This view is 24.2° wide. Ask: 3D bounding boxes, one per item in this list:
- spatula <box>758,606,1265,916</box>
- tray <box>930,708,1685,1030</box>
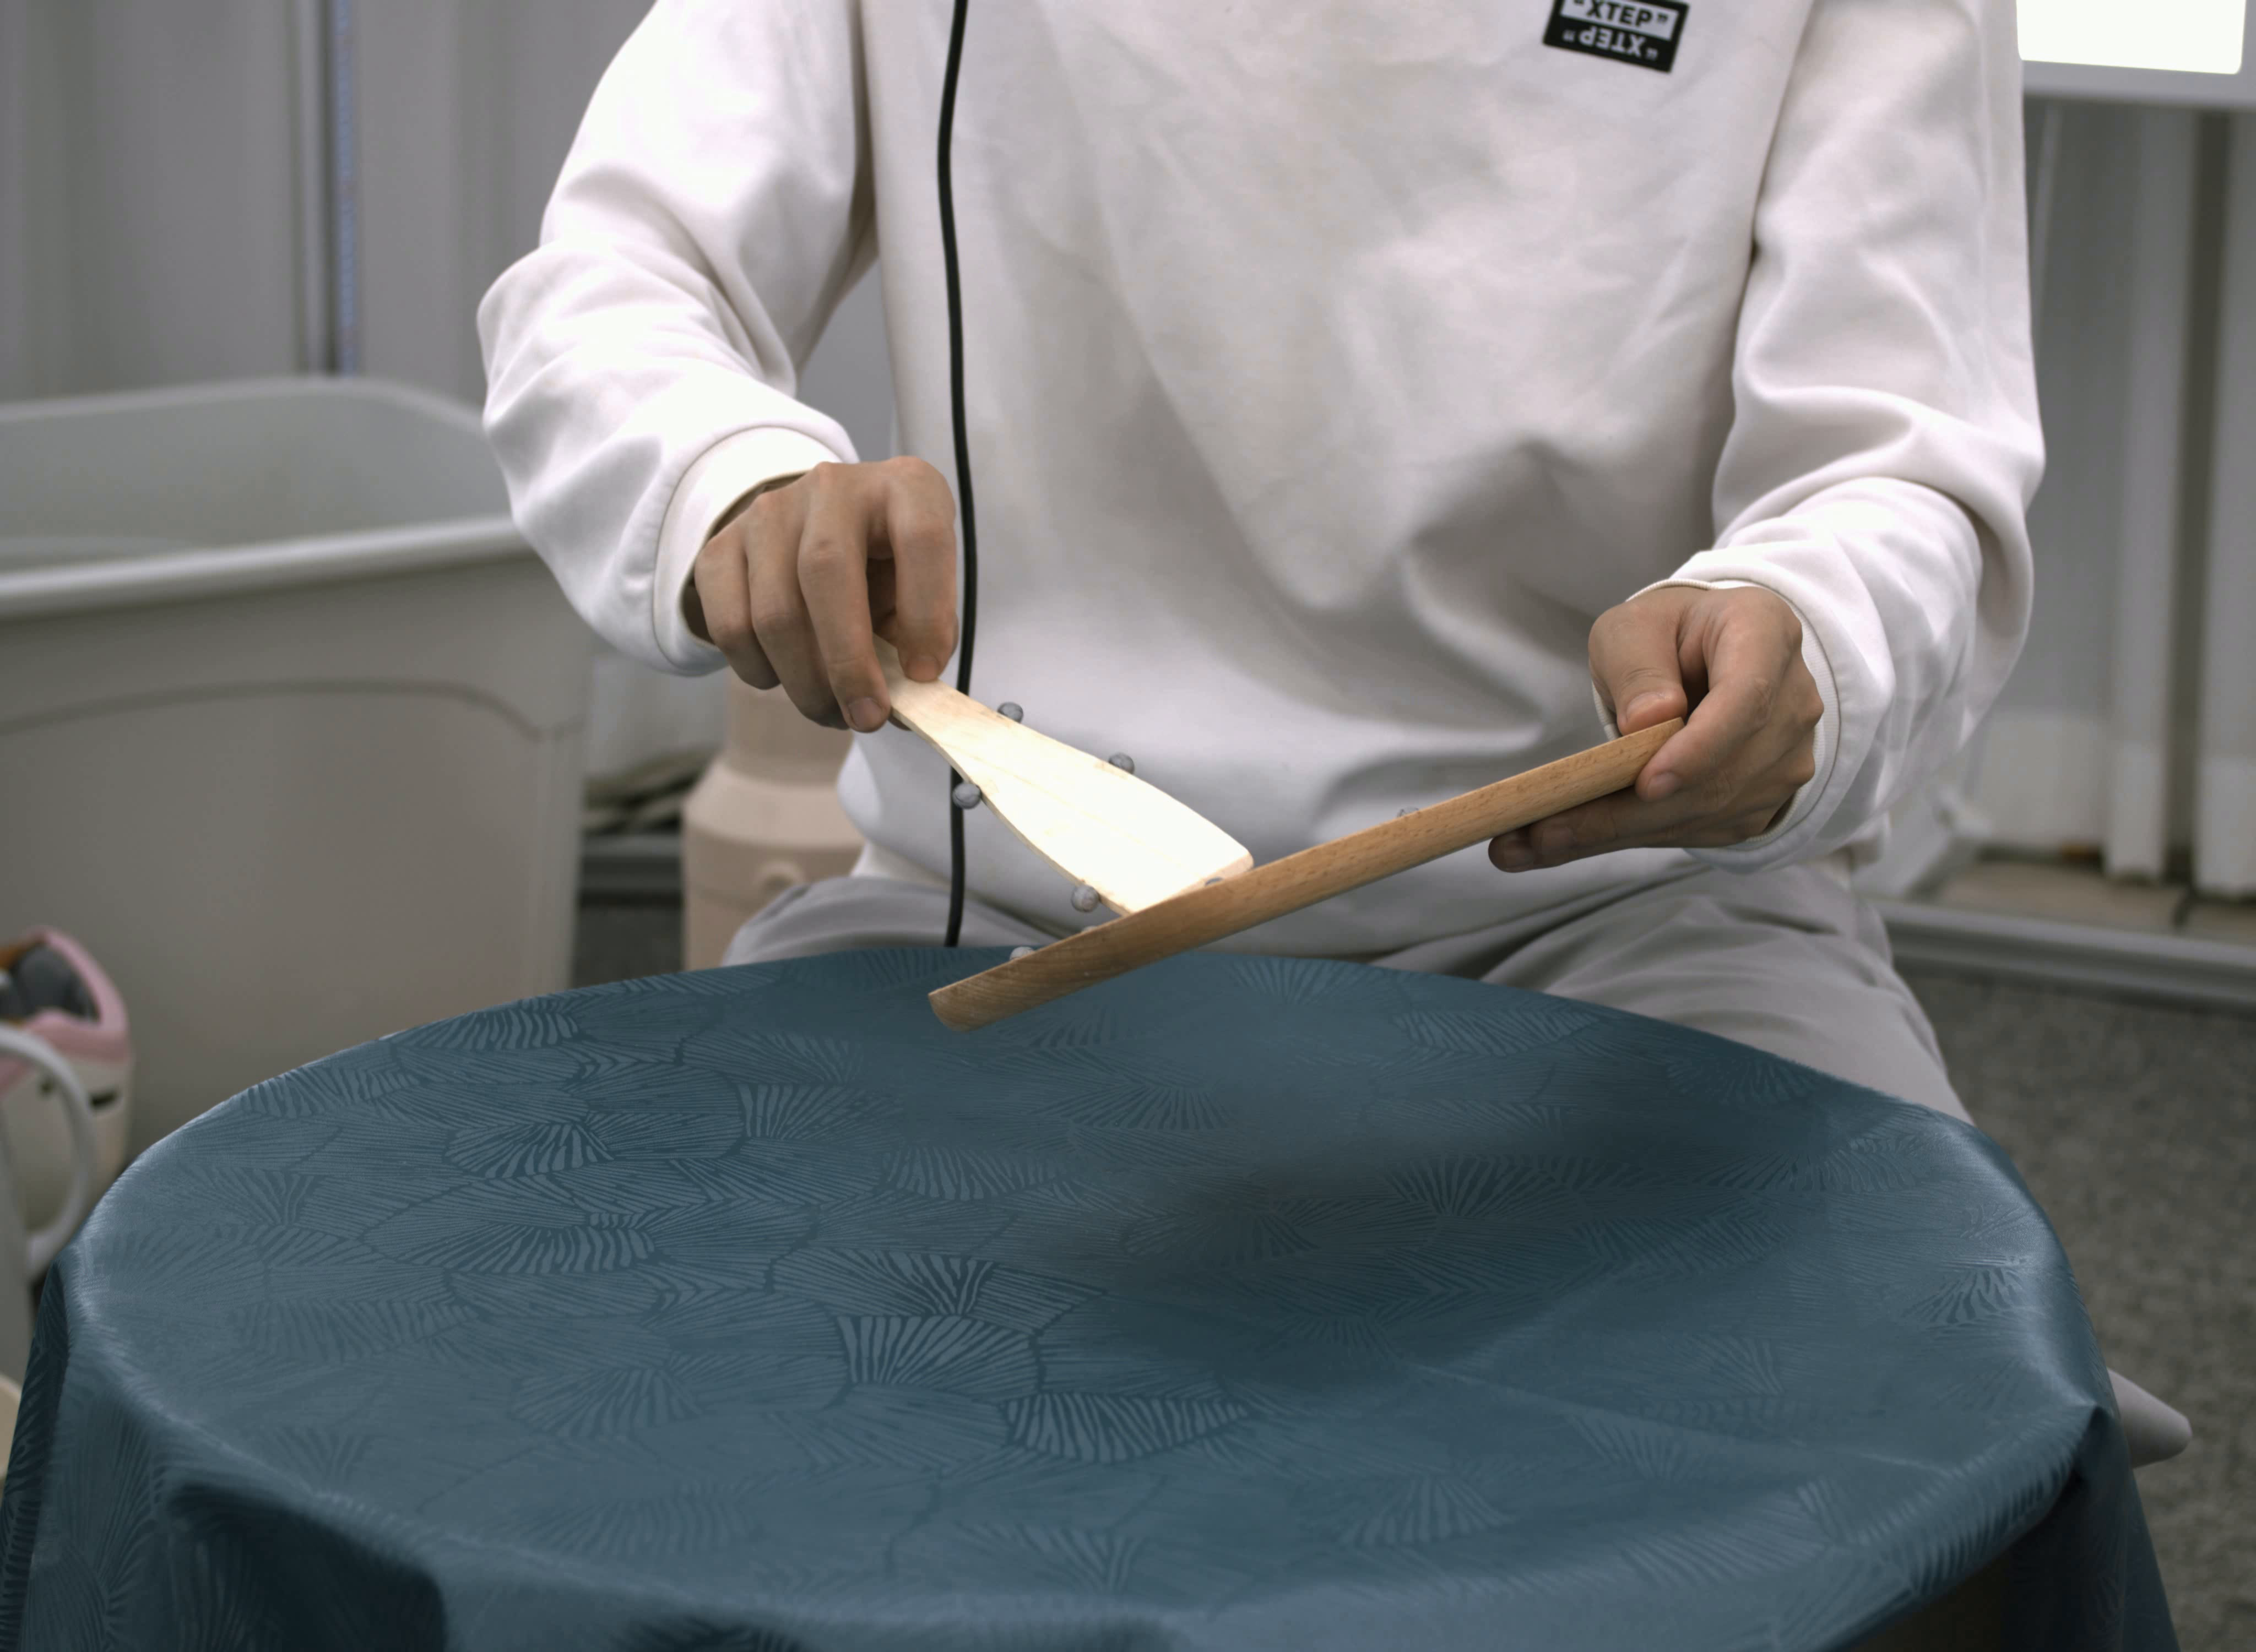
[{"bbox_3d":[-0.044,-0.024,1.652,0.050,0.005,0.205,-28,45,-36],"label":"spatula"},{"bbox_3d":[0.058,0.012,1.583,0.252,0.023,0.129,-19,0,-44],"label":"tray"}]
